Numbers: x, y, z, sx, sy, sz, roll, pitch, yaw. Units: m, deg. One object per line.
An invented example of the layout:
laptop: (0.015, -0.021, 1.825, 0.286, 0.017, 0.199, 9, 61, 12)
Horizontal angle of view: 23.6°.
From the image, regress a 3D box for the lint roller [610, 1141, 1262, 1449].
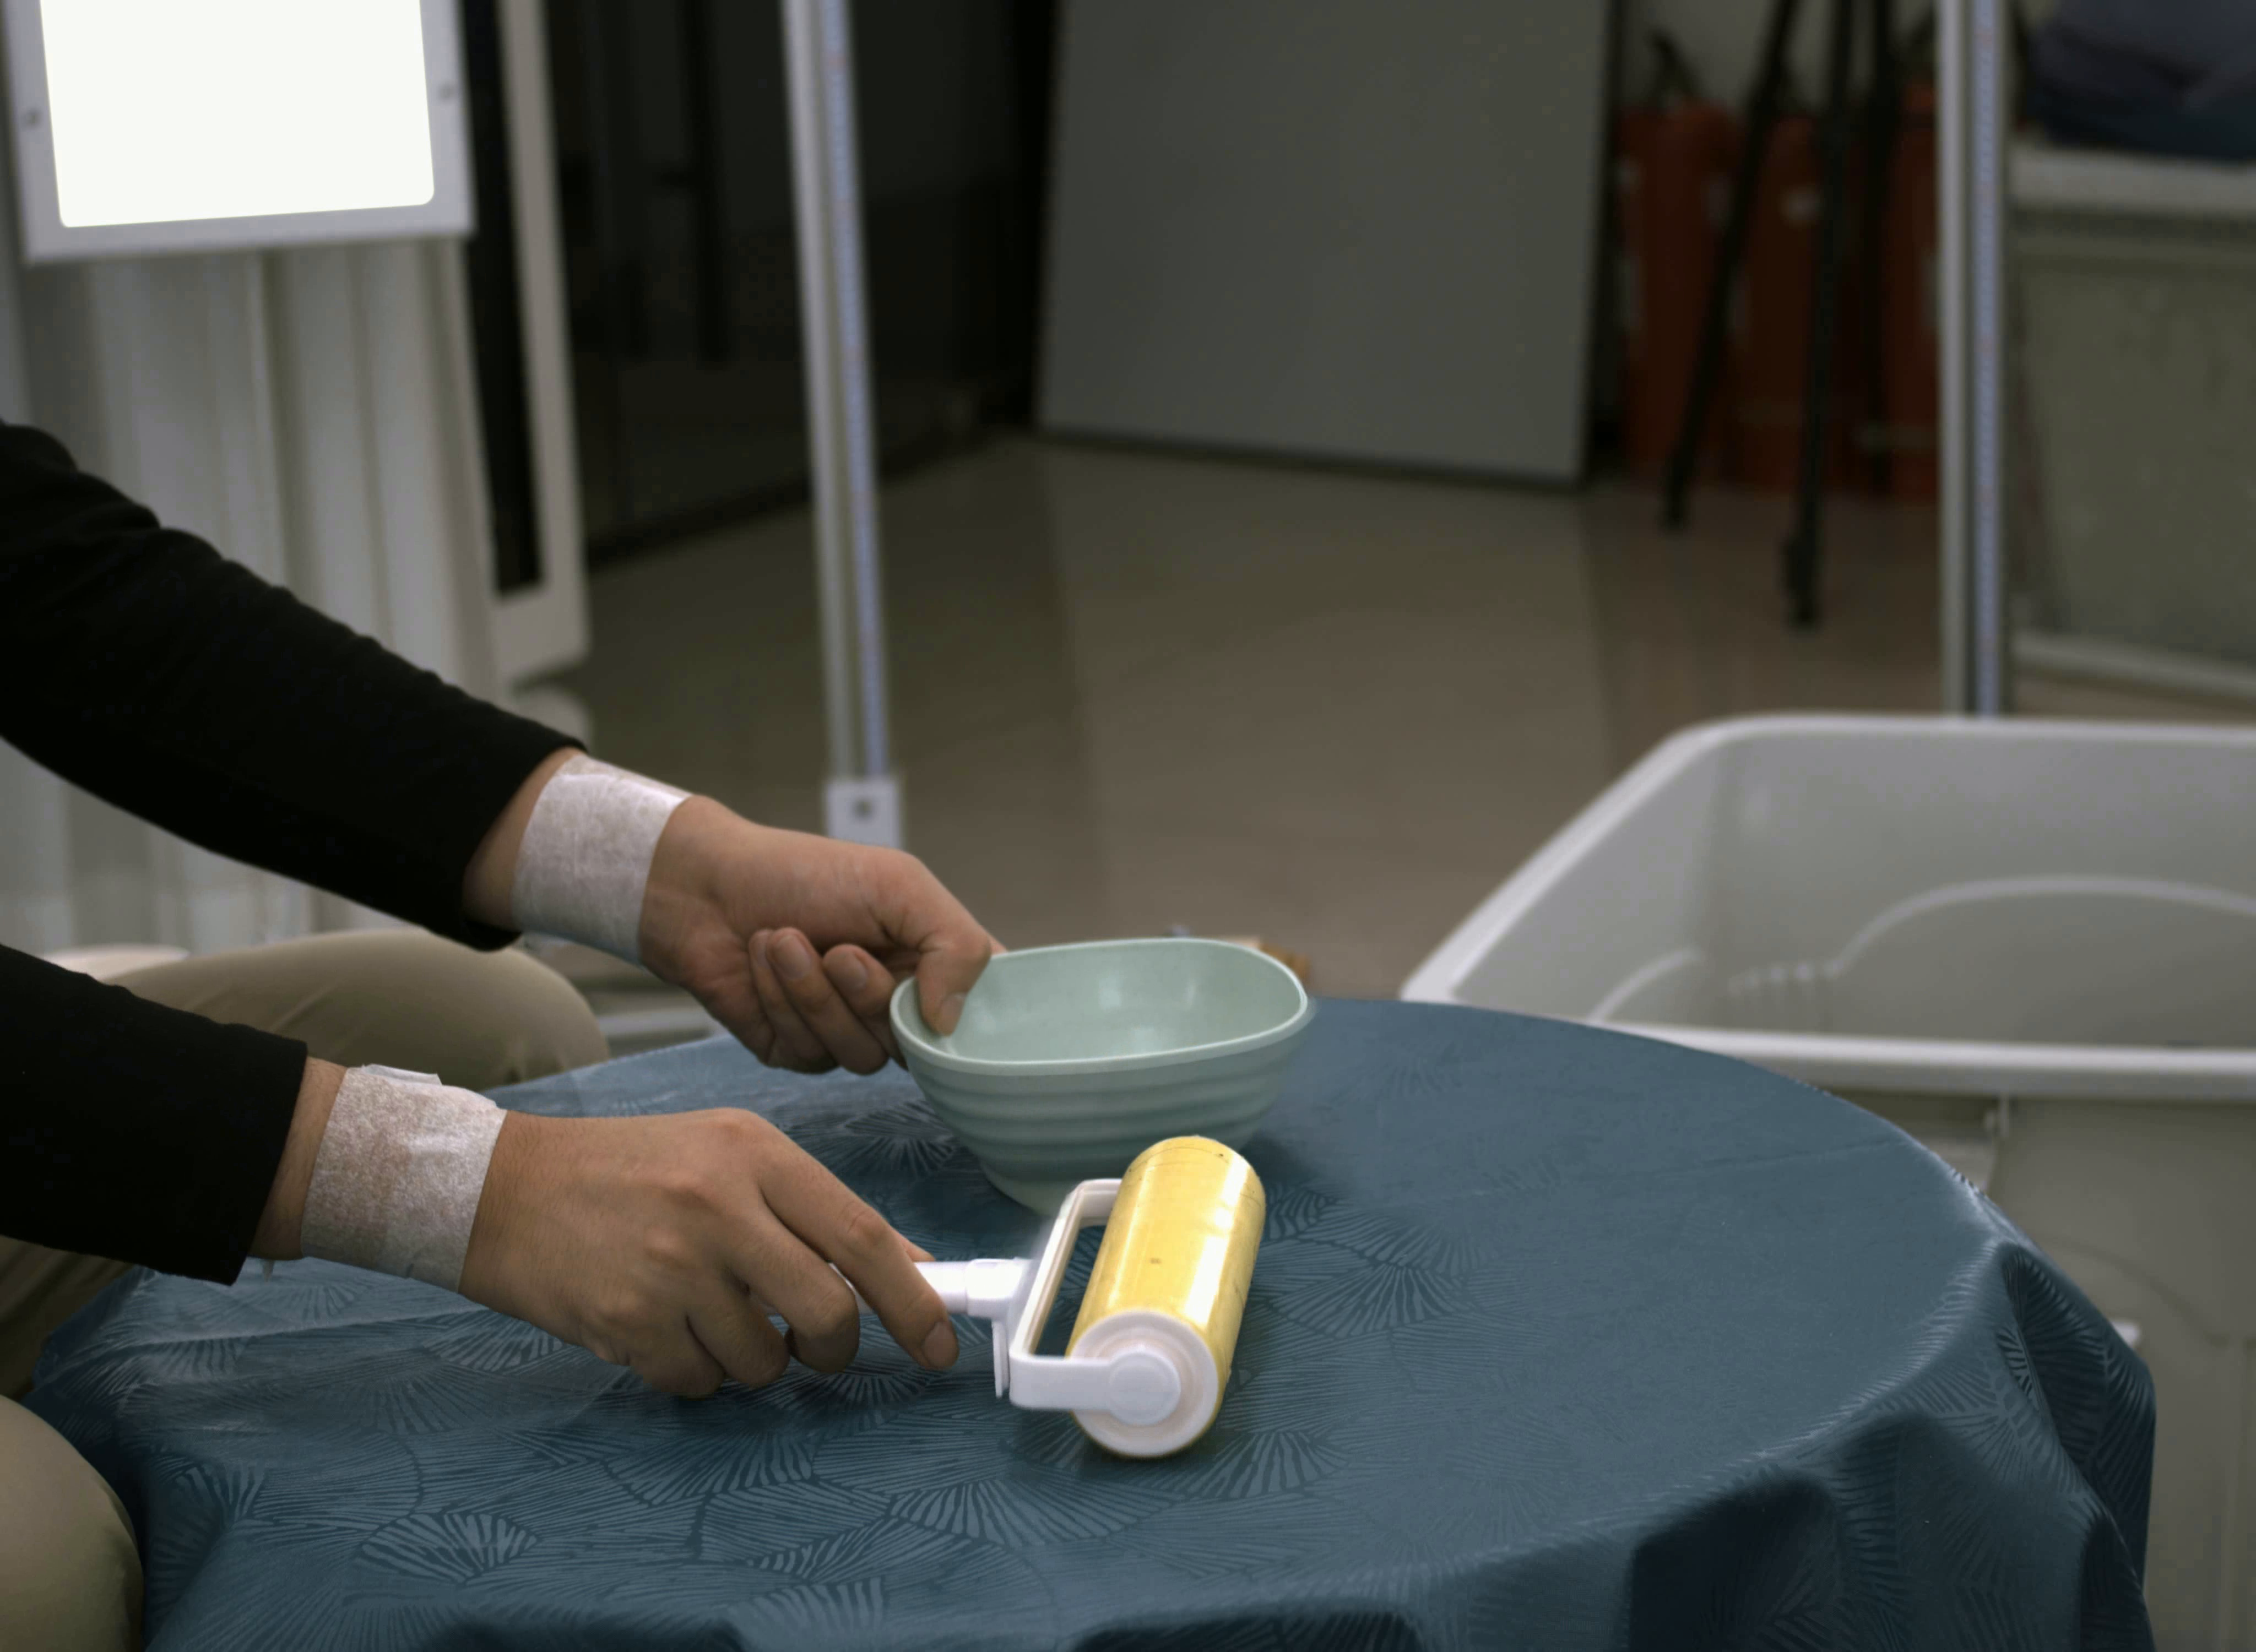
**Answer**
lint roller: (-0.058, 0.128, 1.601, 0.190, 0.052, 0.174, 9, 13, 3)

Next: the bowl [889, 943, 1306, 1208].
bowl: (-0.009, 0.086, 1.796, 0.149, 0.059, 0.152, -2, 14, 0)
